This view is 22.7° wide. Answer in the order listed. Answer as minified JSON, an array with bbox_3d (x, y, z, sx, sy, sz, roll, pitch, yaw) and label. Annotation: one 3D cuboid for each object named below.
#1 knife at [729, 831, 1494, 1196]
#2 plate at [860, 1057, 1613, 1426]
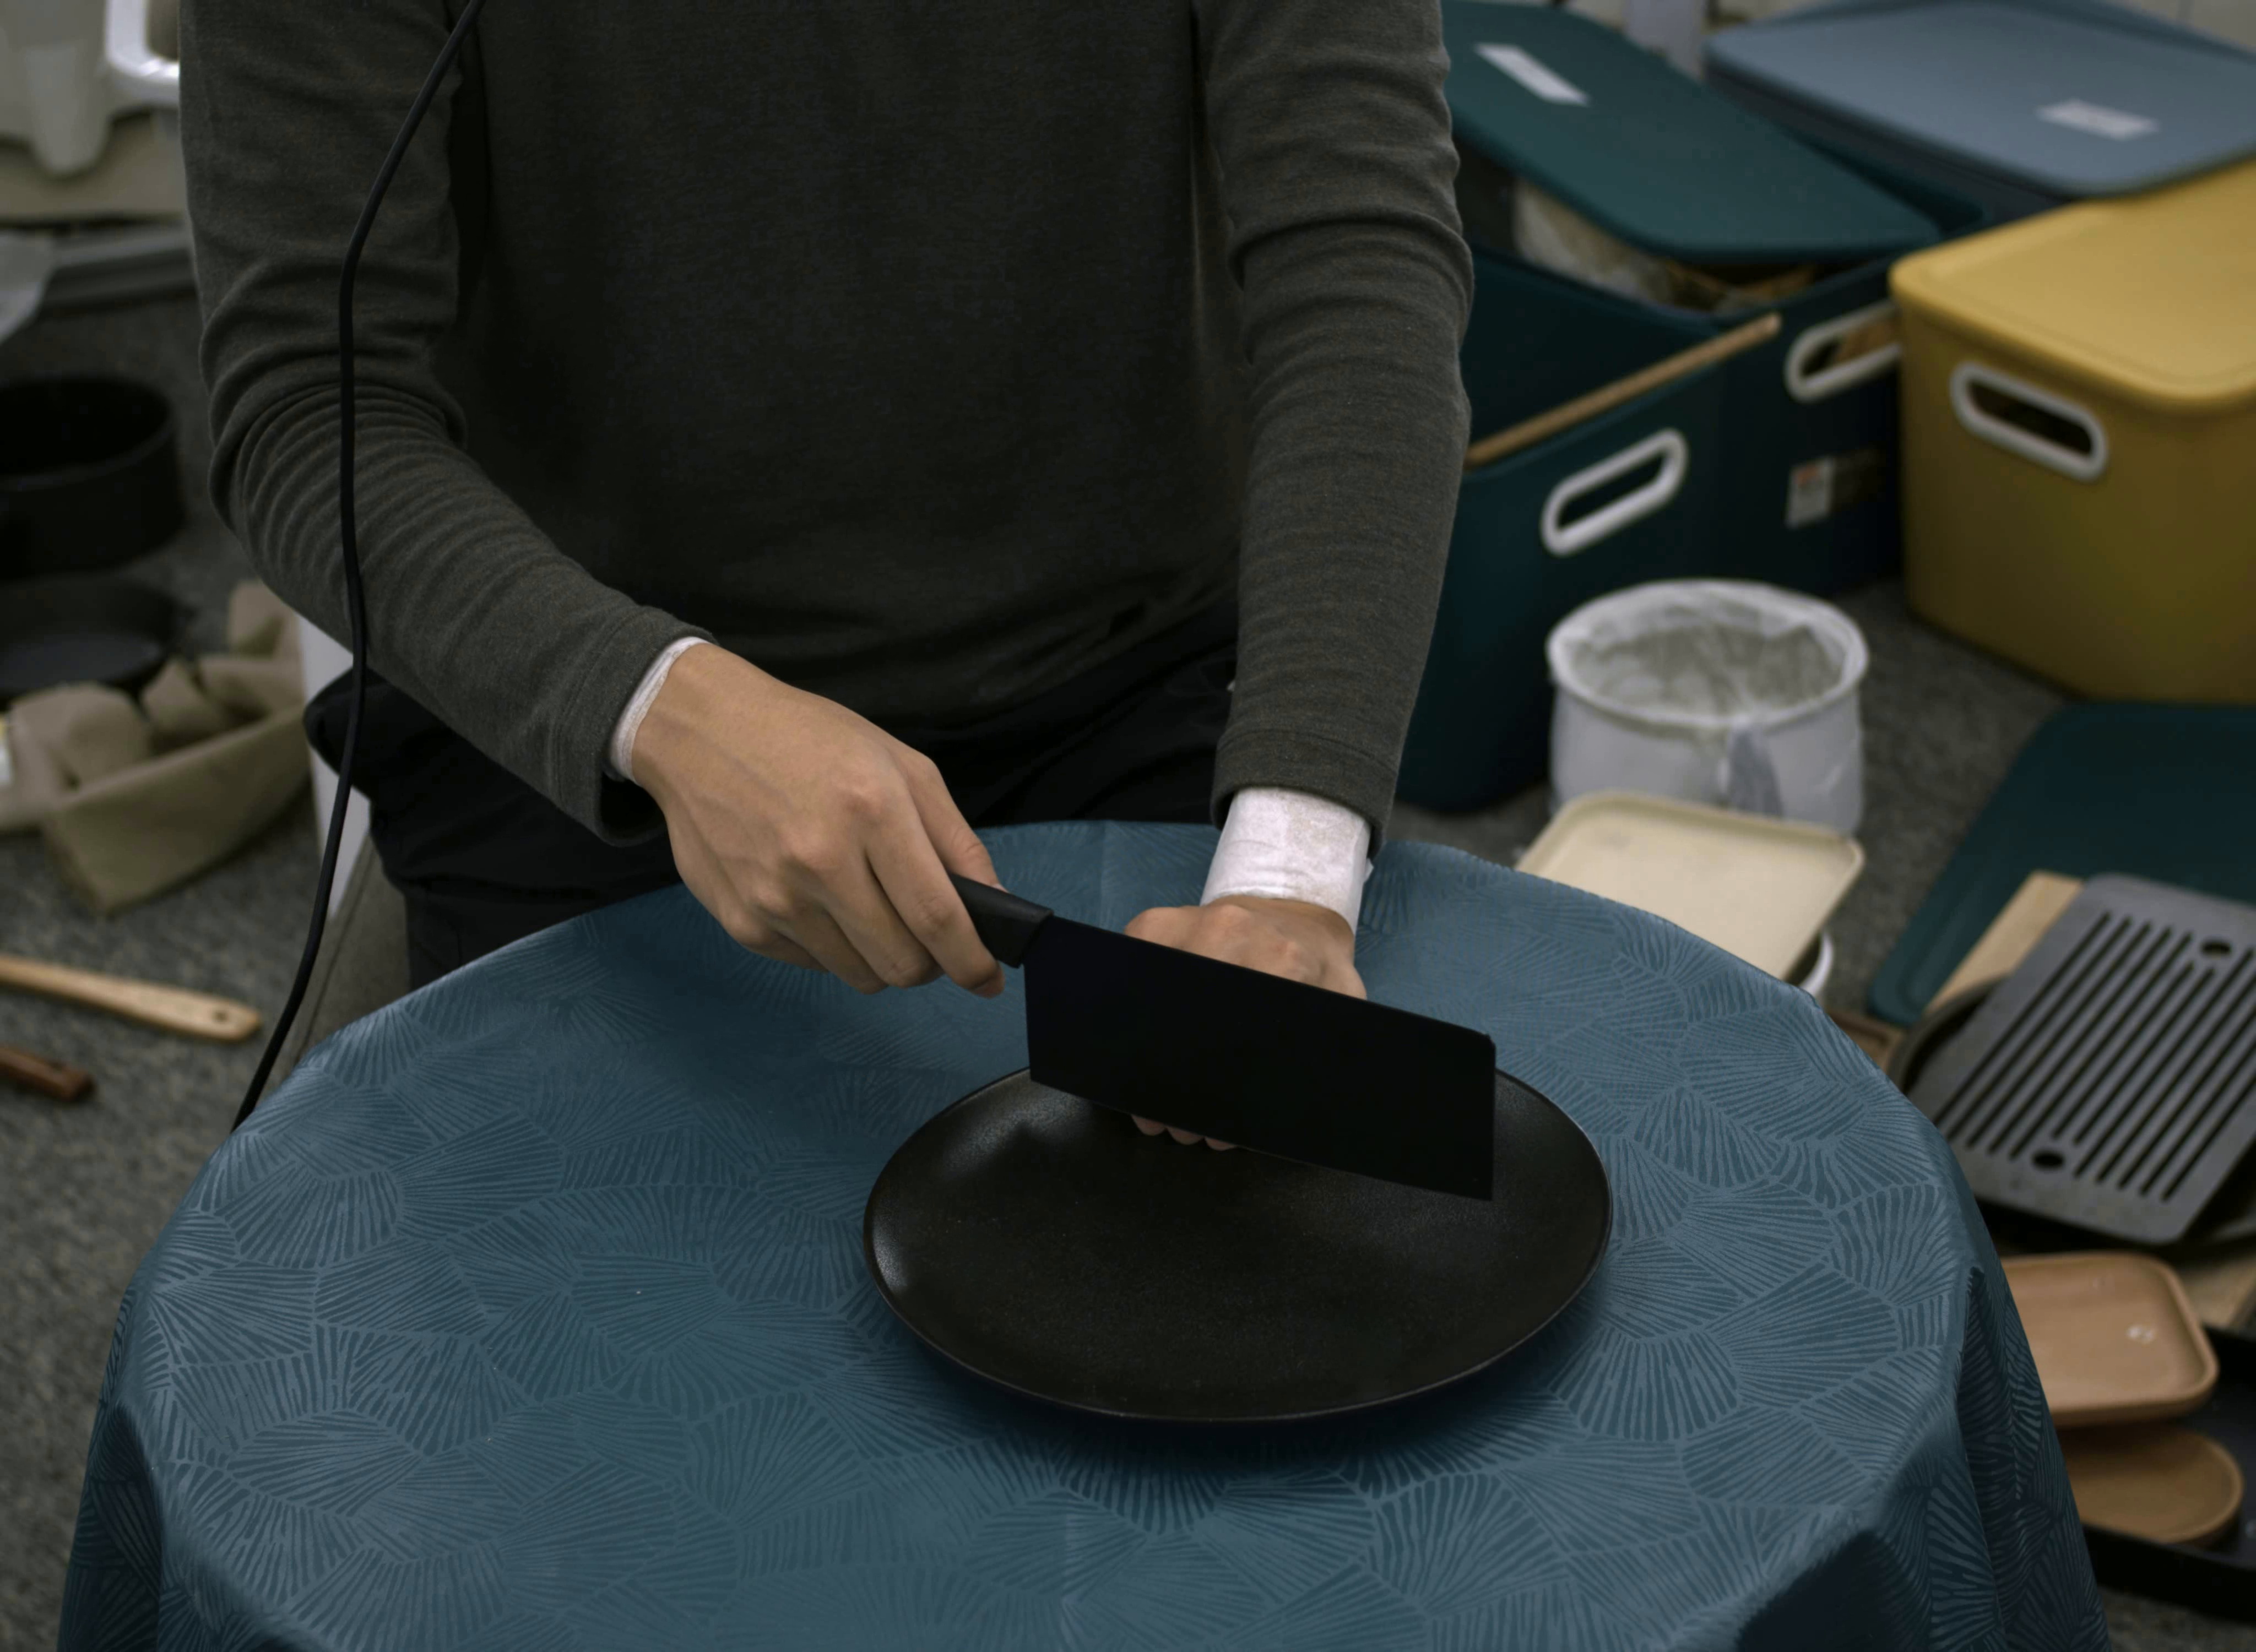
[{"bbox_3d":[-0.008,0.058,1.851,0.301,0.080,0.021,19,29,29],"label":"knife"},{"bbox_3d":[0.035,0.133,1.812,0.243,0.023,0.248,-2,27,1],"label":"plate"}]
